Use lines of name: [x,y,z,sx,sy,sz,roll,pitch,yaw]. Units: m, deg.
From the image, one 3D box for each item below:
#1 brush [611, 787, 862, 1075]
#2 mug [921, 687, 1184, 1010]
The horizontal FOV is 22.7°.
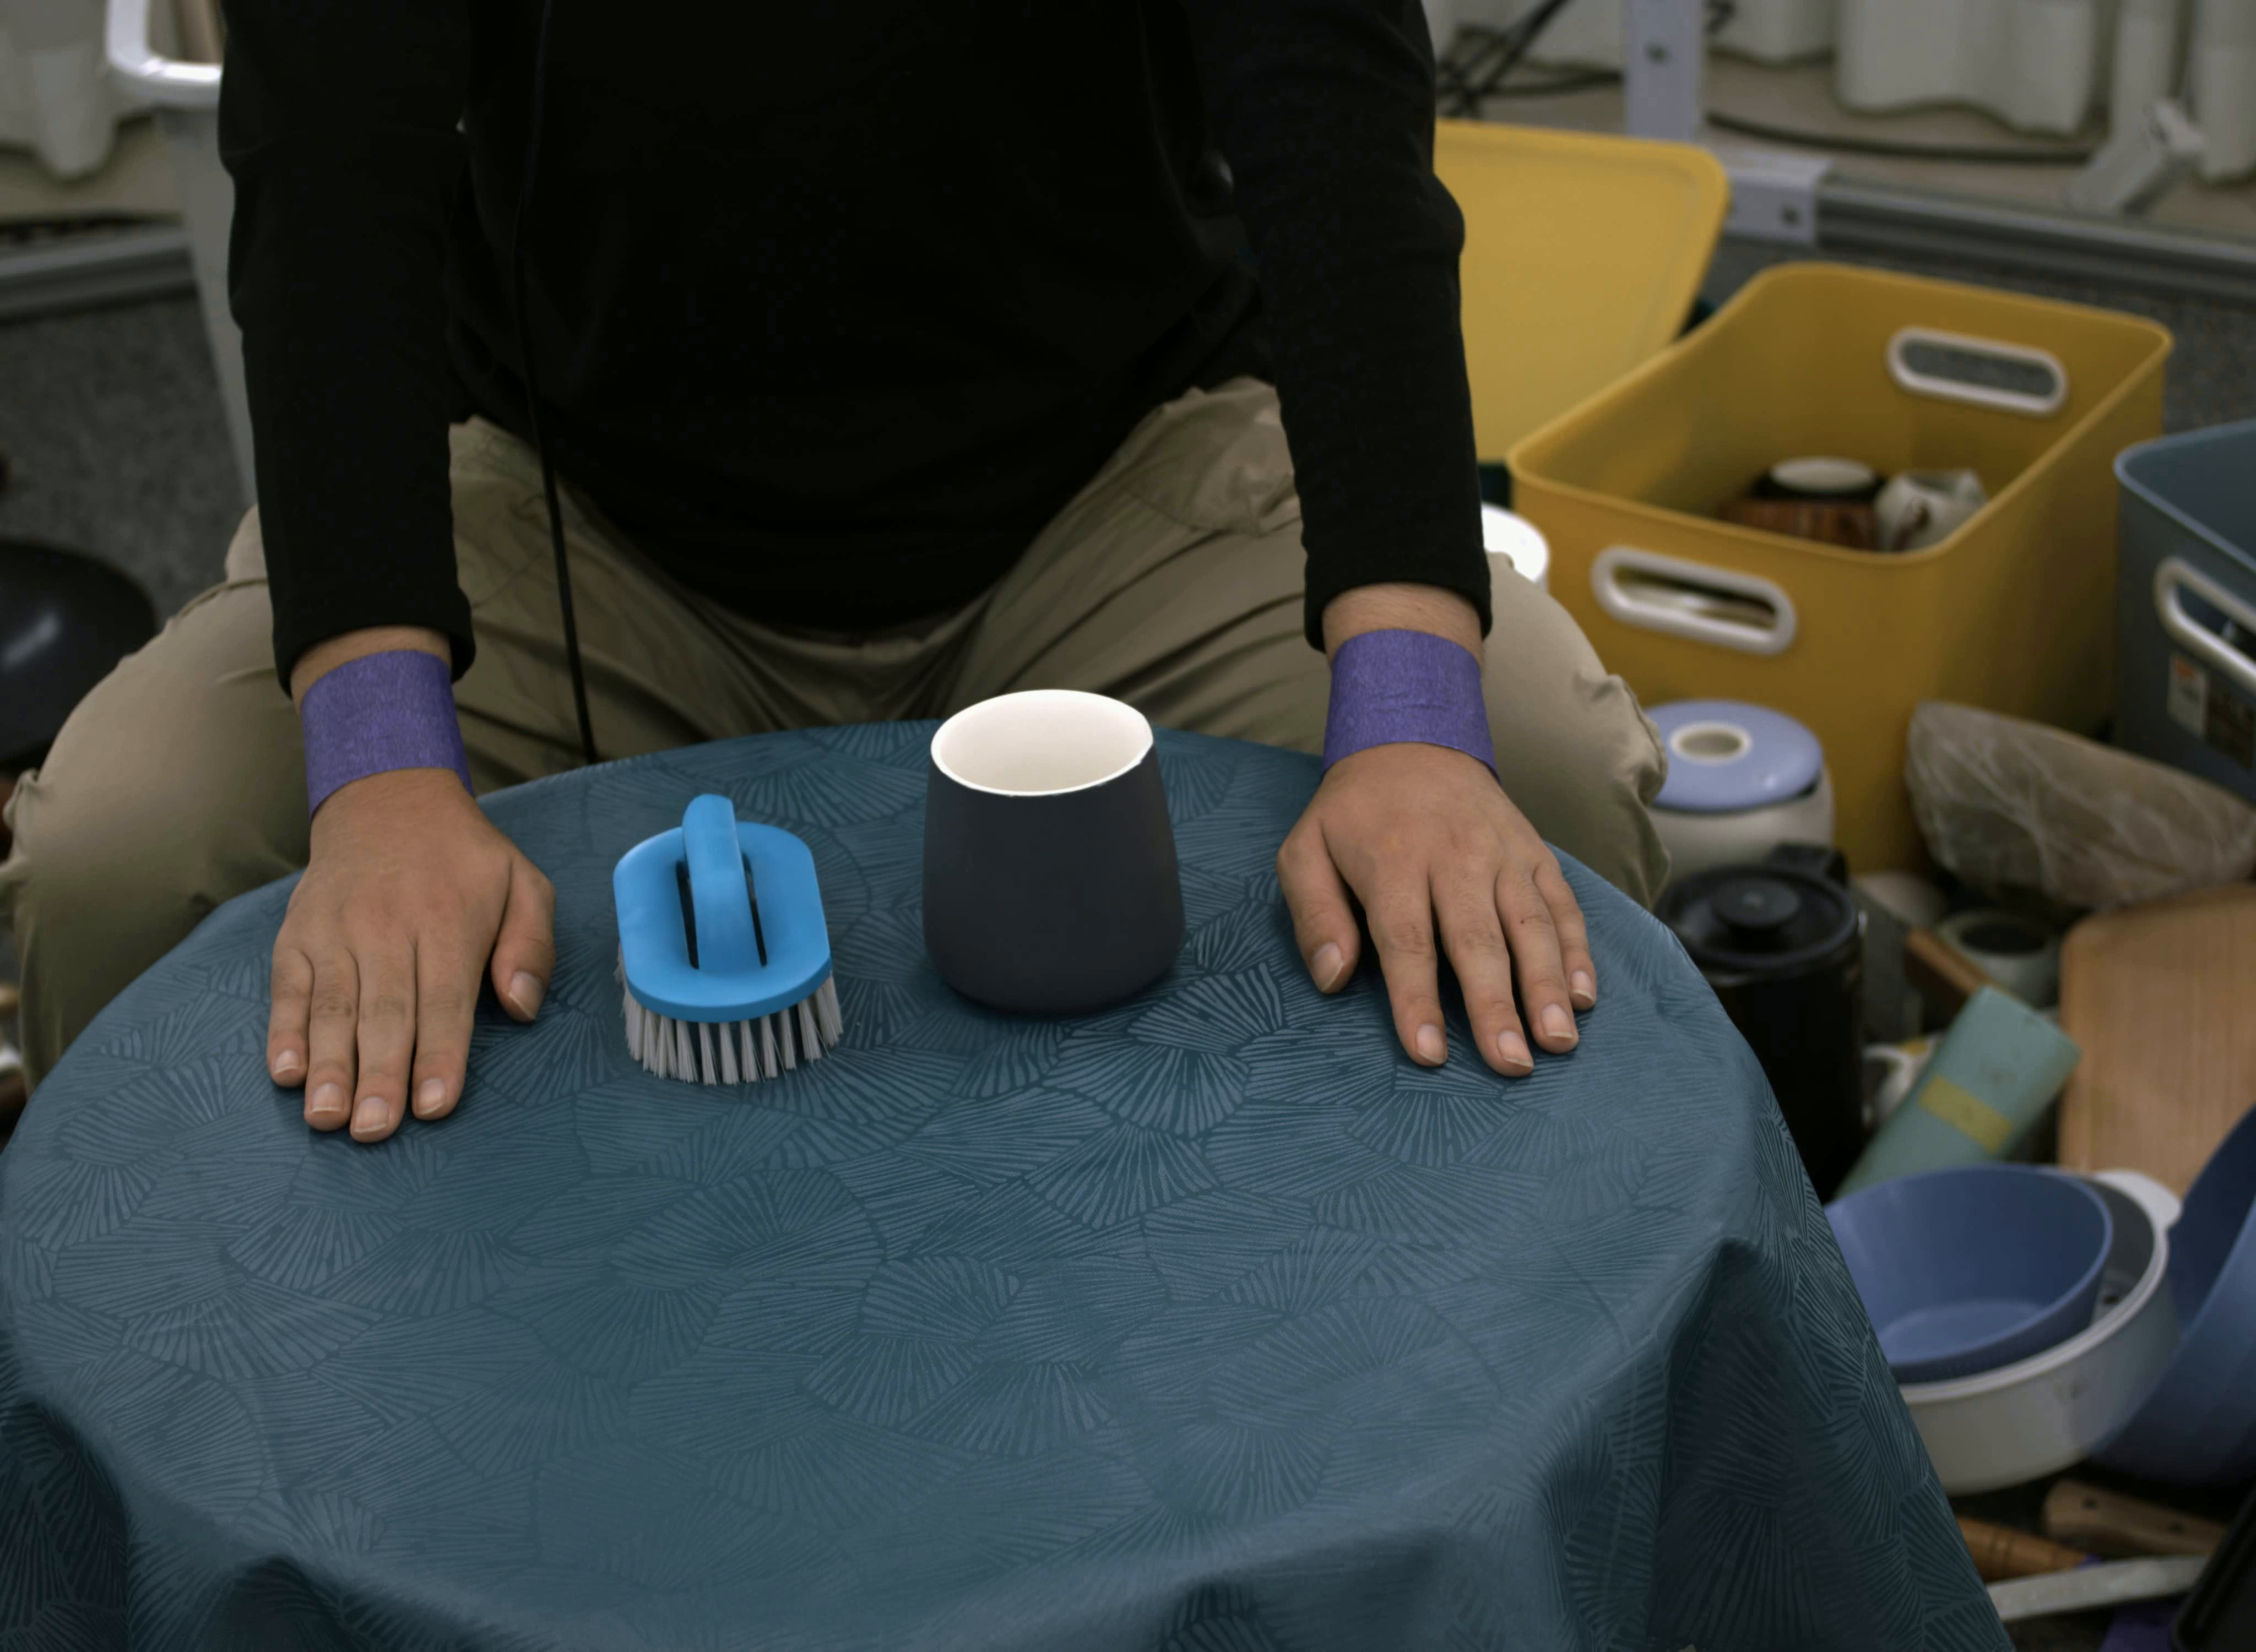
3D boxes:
brush: [-0.142,0.029,1.985,0.084,0.063,0.143,-10,27,-3]
mug: [-0.028,0.001,1.995,0.093,0.089,0.125,-3,28,-1]
